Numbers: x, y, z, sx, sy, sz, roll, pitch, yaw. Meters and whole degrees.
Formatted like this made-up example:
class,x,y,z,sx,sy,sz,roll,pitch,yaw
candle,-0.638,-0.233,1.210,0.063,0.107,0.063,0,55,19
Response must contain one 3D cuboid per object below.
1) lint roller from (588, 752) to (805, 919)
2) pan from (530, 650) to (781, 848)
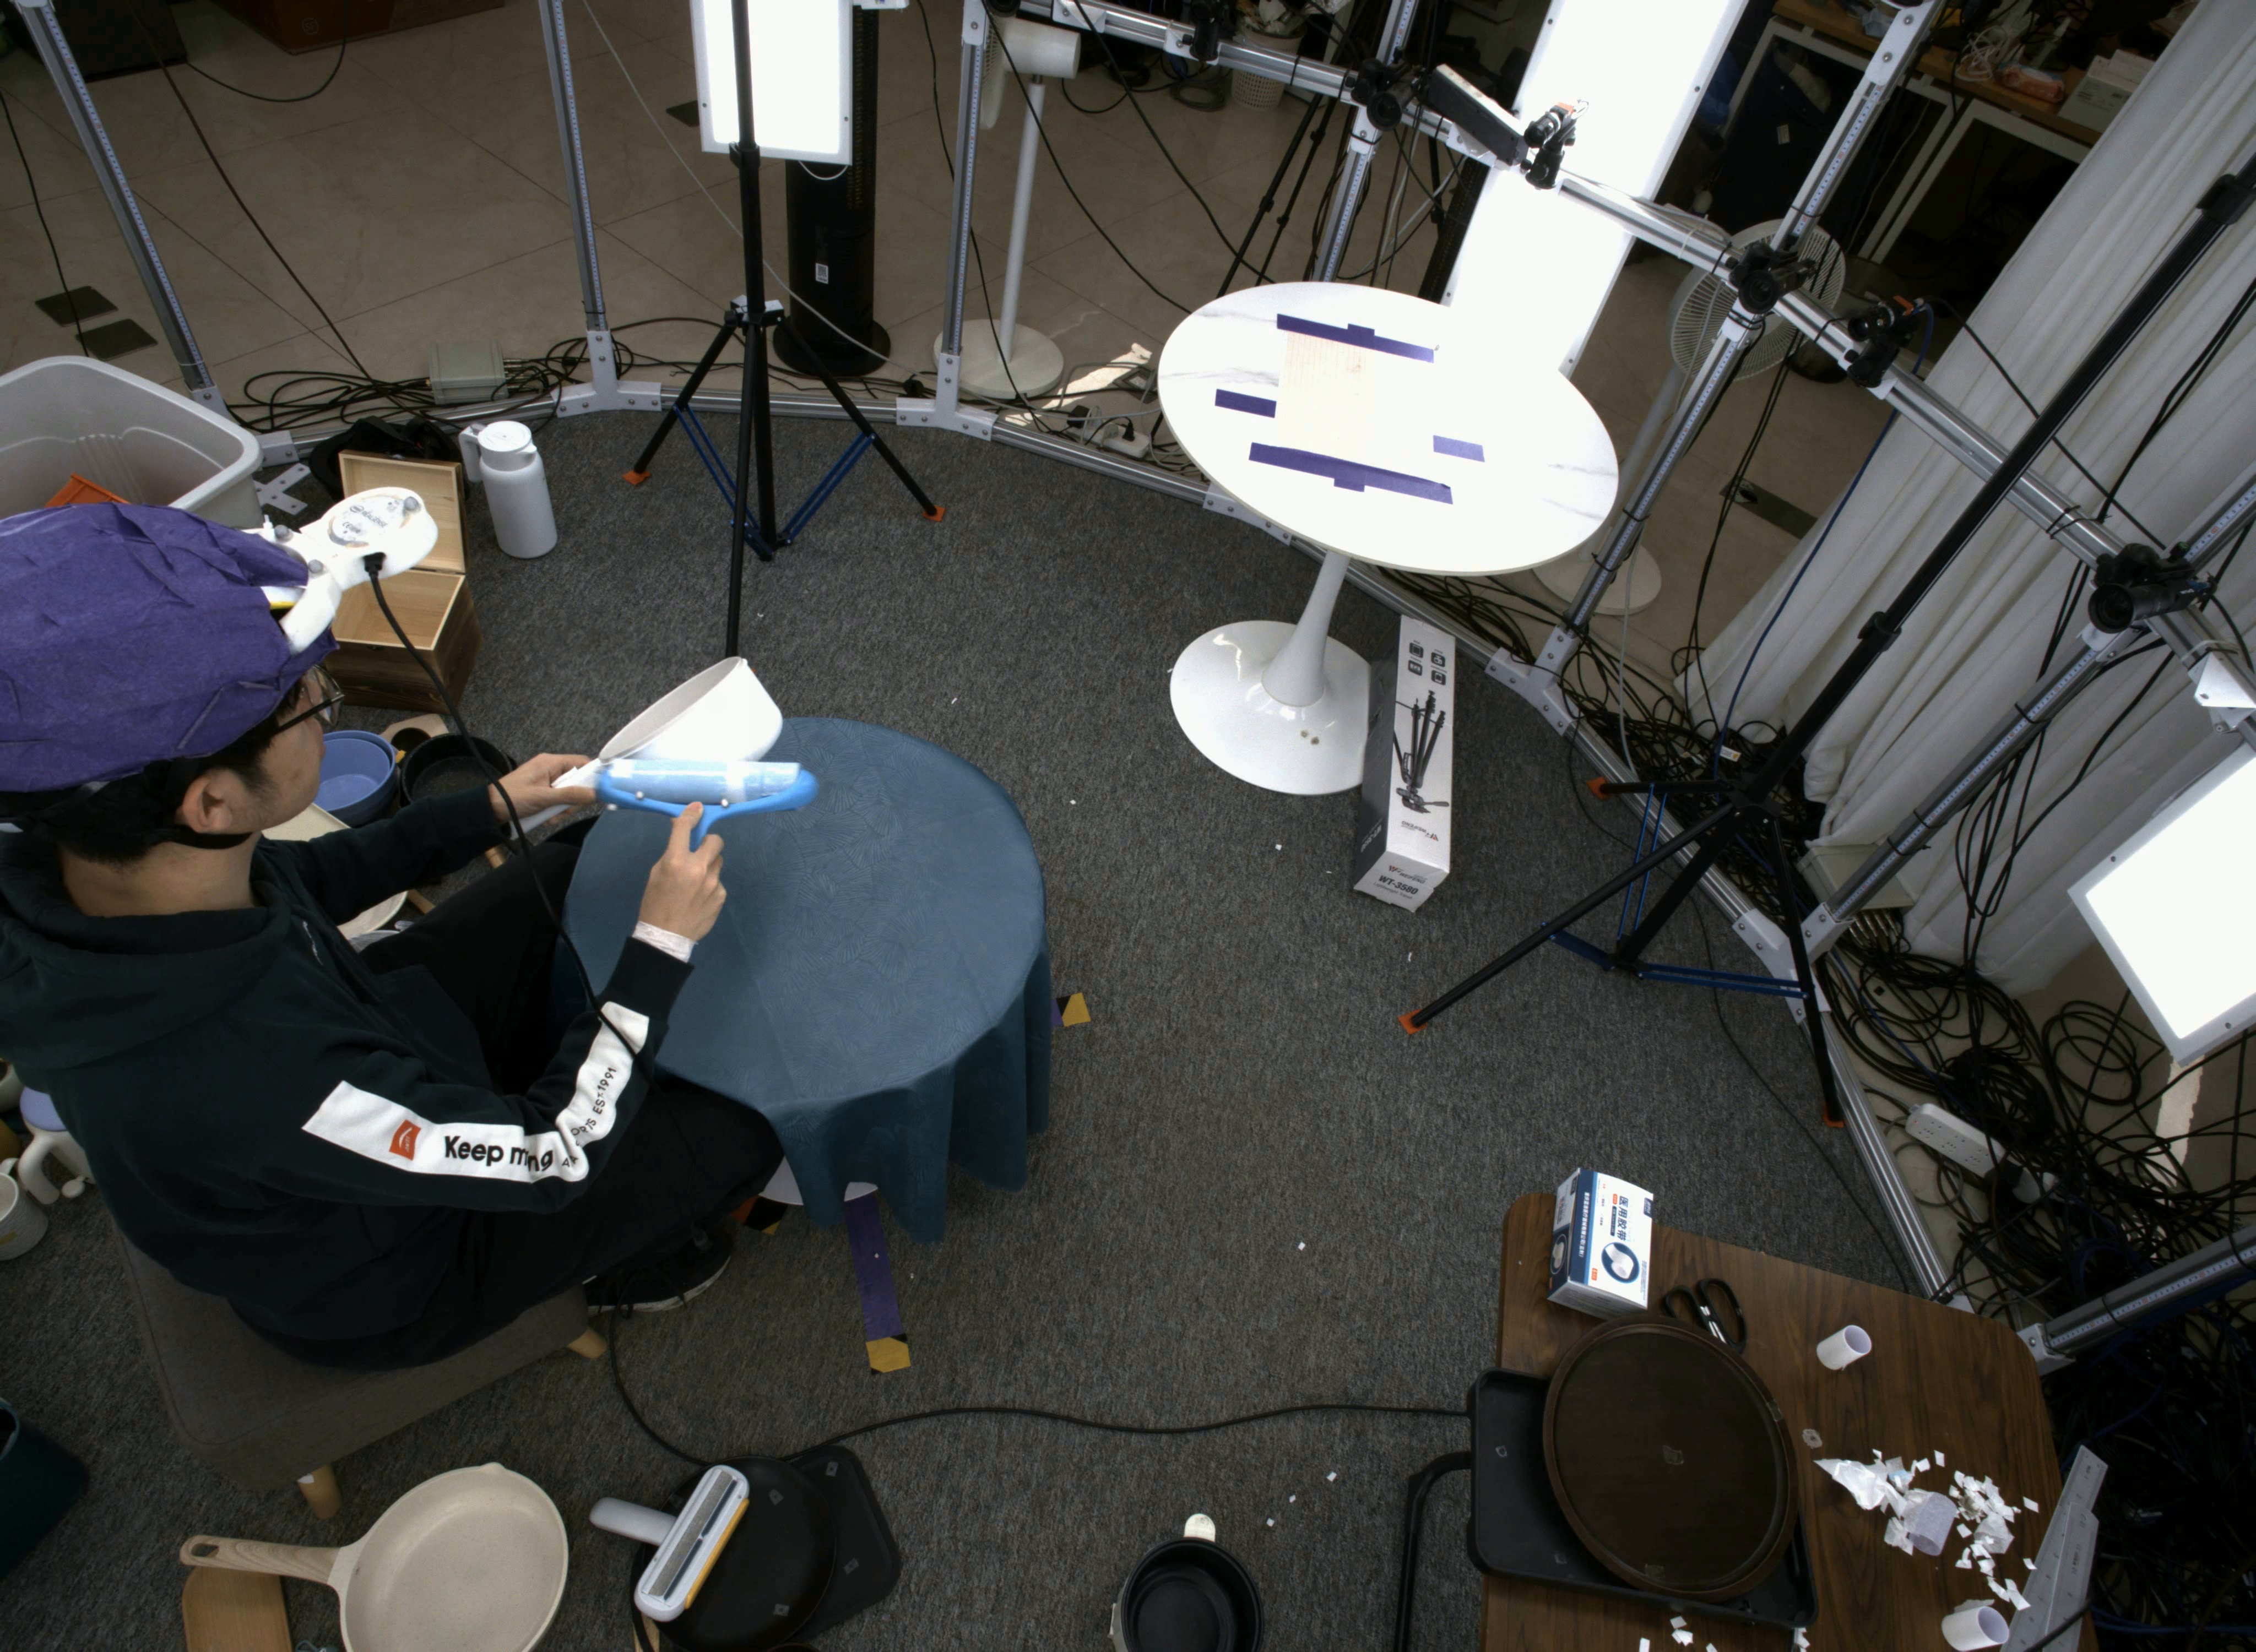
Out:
class,x,y,z,sx,sy,sz,roll,pitch,yaw
lint roller,-0.448,-0.001,1.335,0.230,0.069,0.177,-1,61,-19
pan,-0.558,-0.060,1.488,0.352,0.105,0.196,-32,26,9
